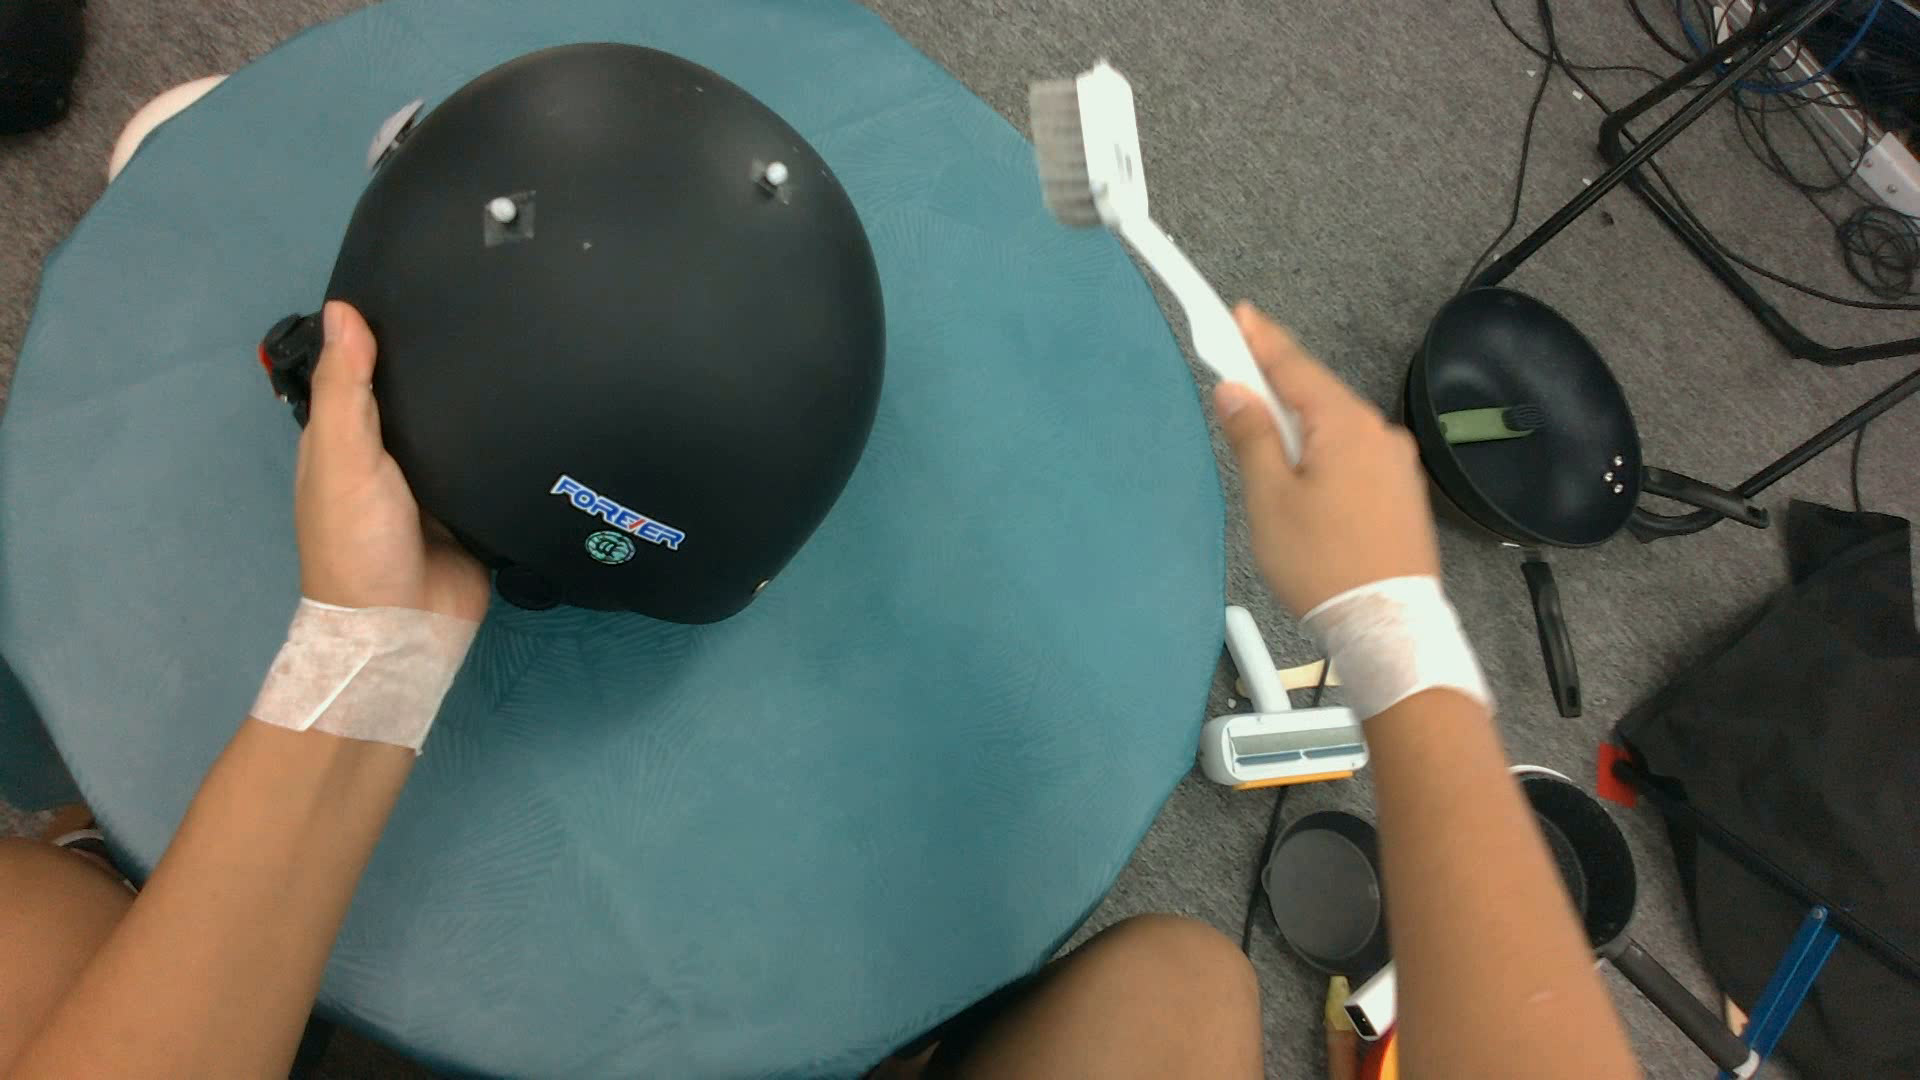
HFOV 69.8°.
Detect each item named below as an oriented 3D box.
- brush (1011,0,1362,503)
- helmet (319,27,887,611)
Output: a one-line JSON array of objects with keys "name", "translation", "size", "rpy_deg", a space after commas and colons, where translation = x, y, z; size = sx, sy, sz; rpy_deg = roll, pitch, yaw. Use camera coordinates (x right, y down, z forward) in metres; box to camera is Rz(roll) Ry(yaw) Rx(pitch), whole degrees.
[{"name": "brush", "translation": [0.087, -0.115, 0.566], "size": [0.034, 0.050, 0.244], "rpy_deg": [-13, 74, -60]}, {"name": "helmet", "translation": [-0.126, -0.114, 0.579], "size": [0.230, 0.166, 0.274], "rpy_deg": [33, 37, -31]}]
